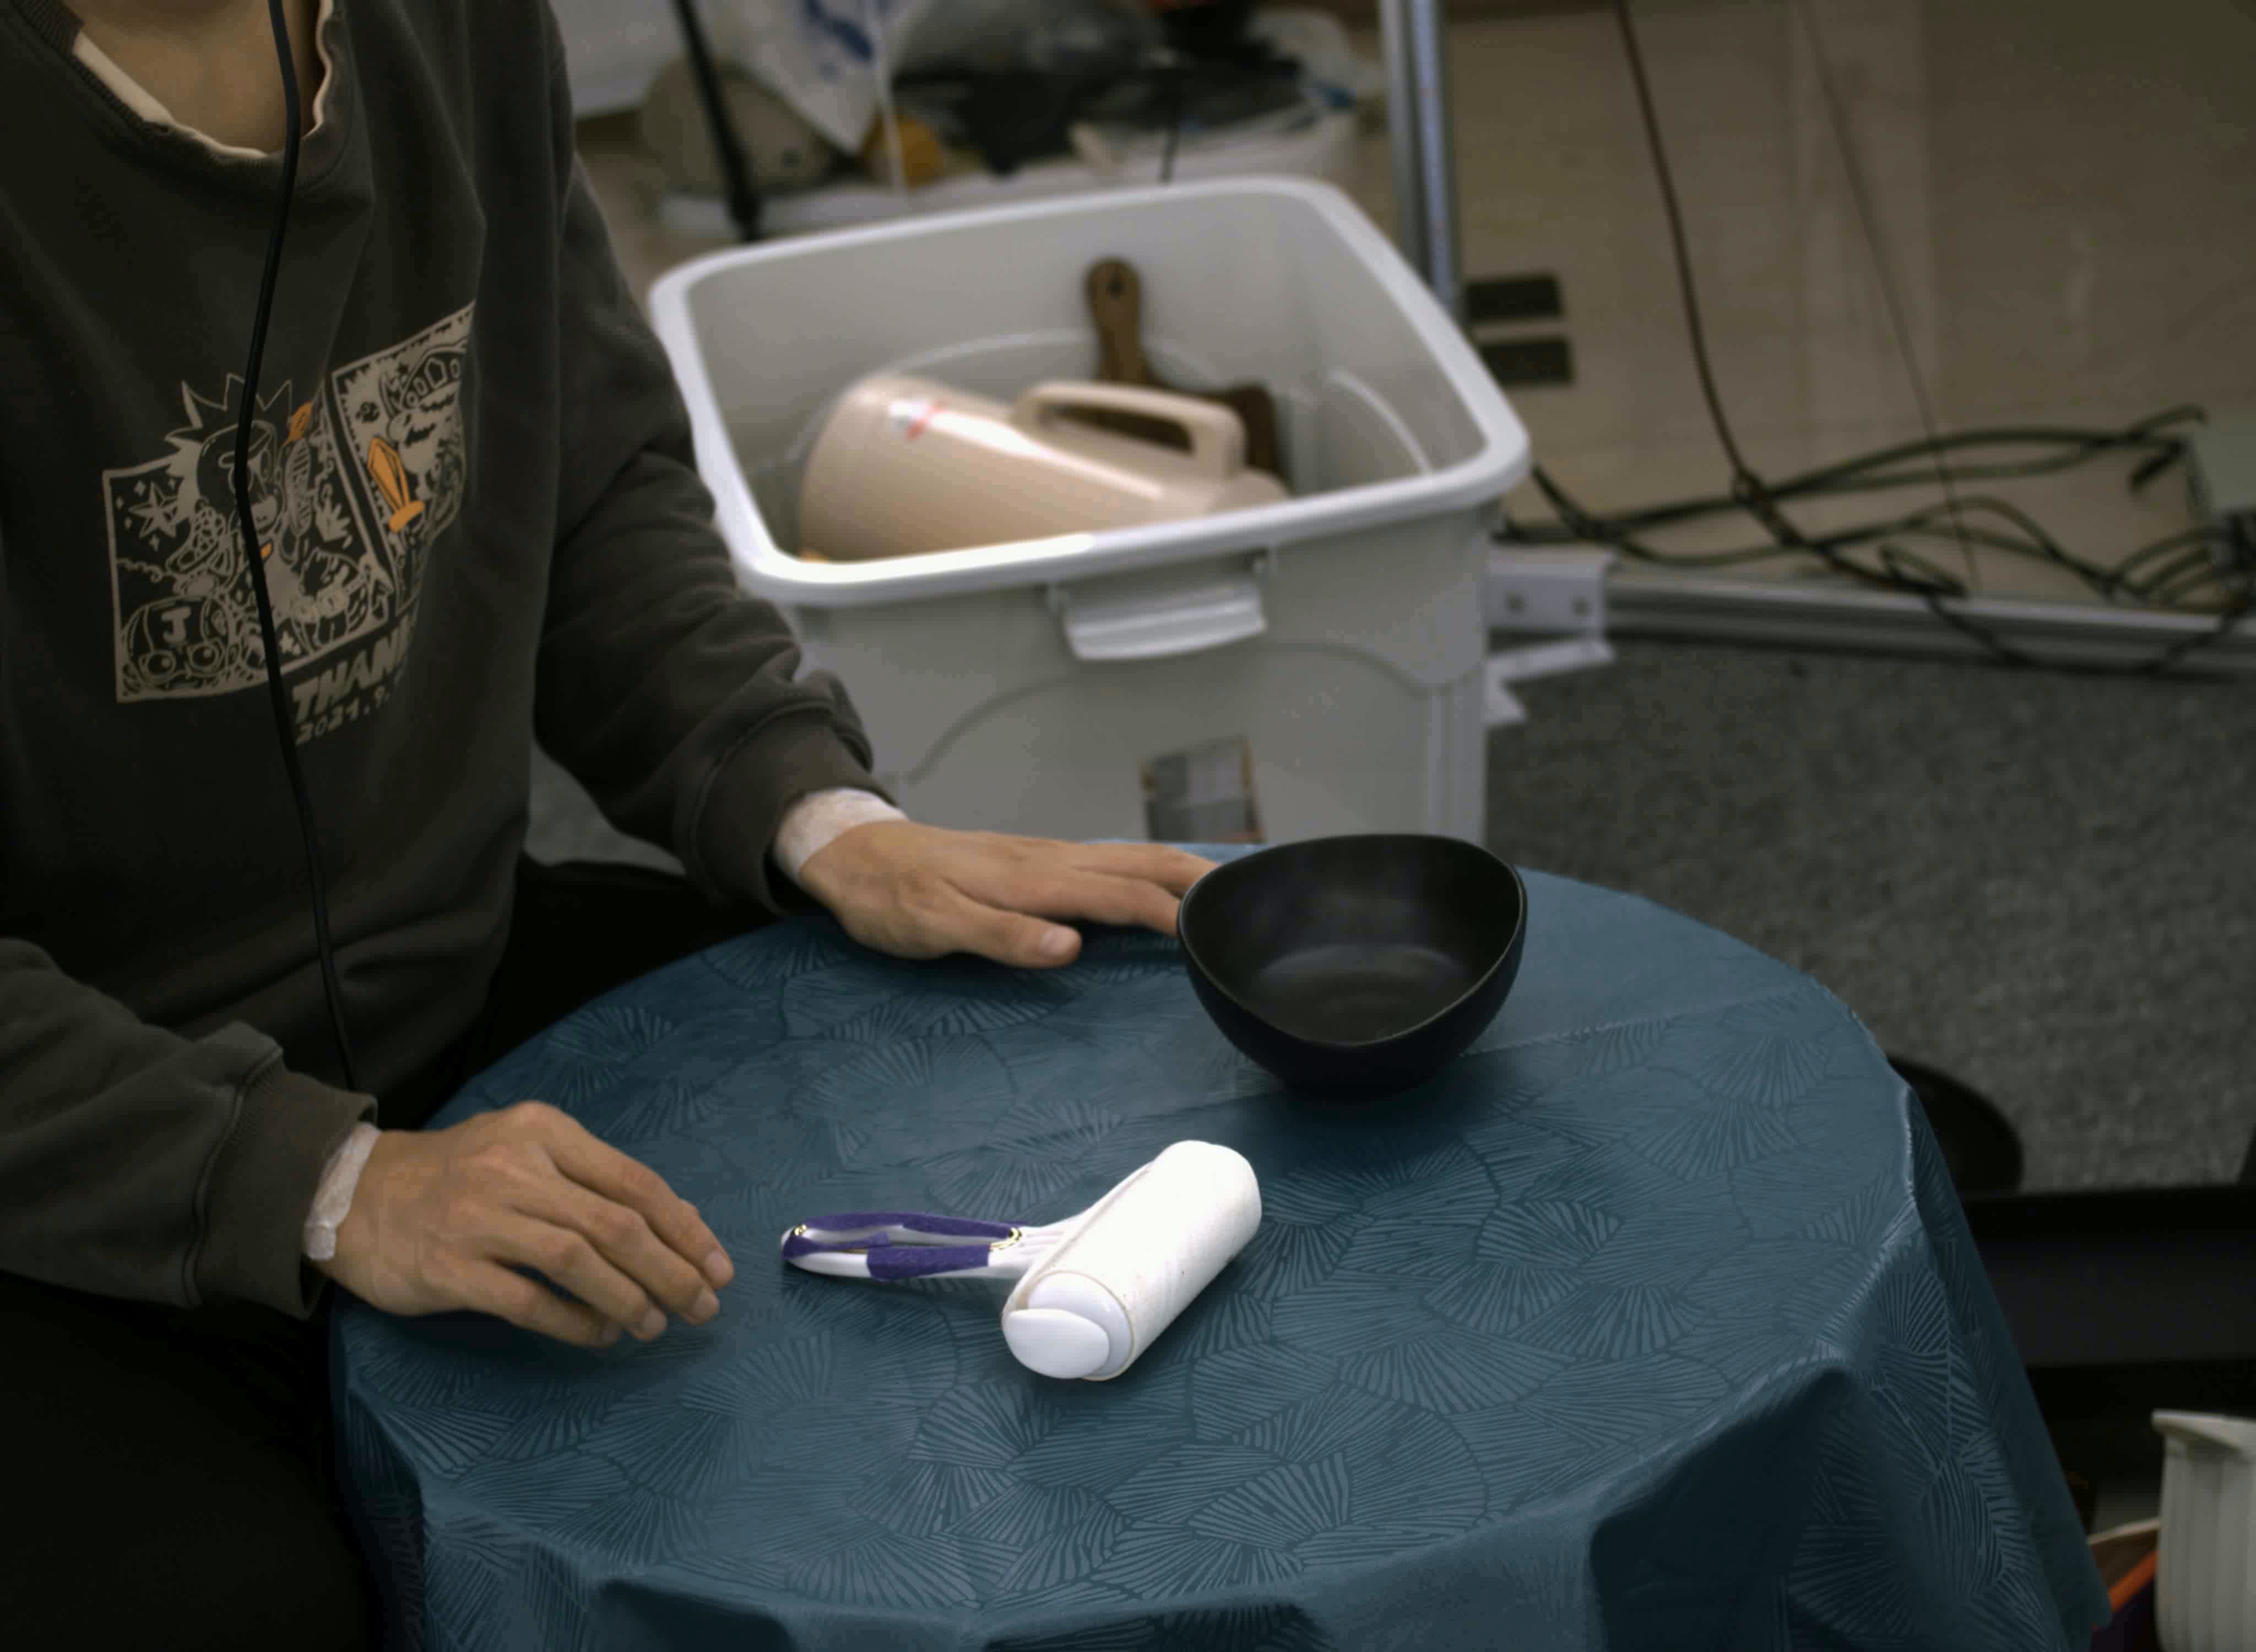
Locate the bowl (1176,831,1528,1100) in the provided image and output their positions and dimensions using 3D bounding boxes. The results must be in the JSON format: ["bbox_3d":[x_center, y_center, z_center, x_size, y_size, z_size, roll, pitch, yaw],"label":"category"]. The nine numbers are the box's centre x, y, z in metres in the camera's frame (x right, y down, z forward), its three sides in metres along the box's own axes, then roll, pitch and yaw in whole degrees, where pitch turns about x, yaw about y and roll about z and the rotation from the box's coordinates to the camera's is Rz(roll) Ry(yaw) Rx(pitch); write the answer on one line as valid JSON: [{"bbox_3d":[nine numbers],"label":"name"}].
[{"bbox_3d":[0.091,0.062,2.213,0.137,0.068,0.168,-8,27,0],"label":"bowl"}]

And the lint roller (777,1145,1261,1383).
[{"bbox_3d":[-0.051,0.148,2.083,0.180,0.051,0.131,11,31,28],"label":"lint roller"}]
